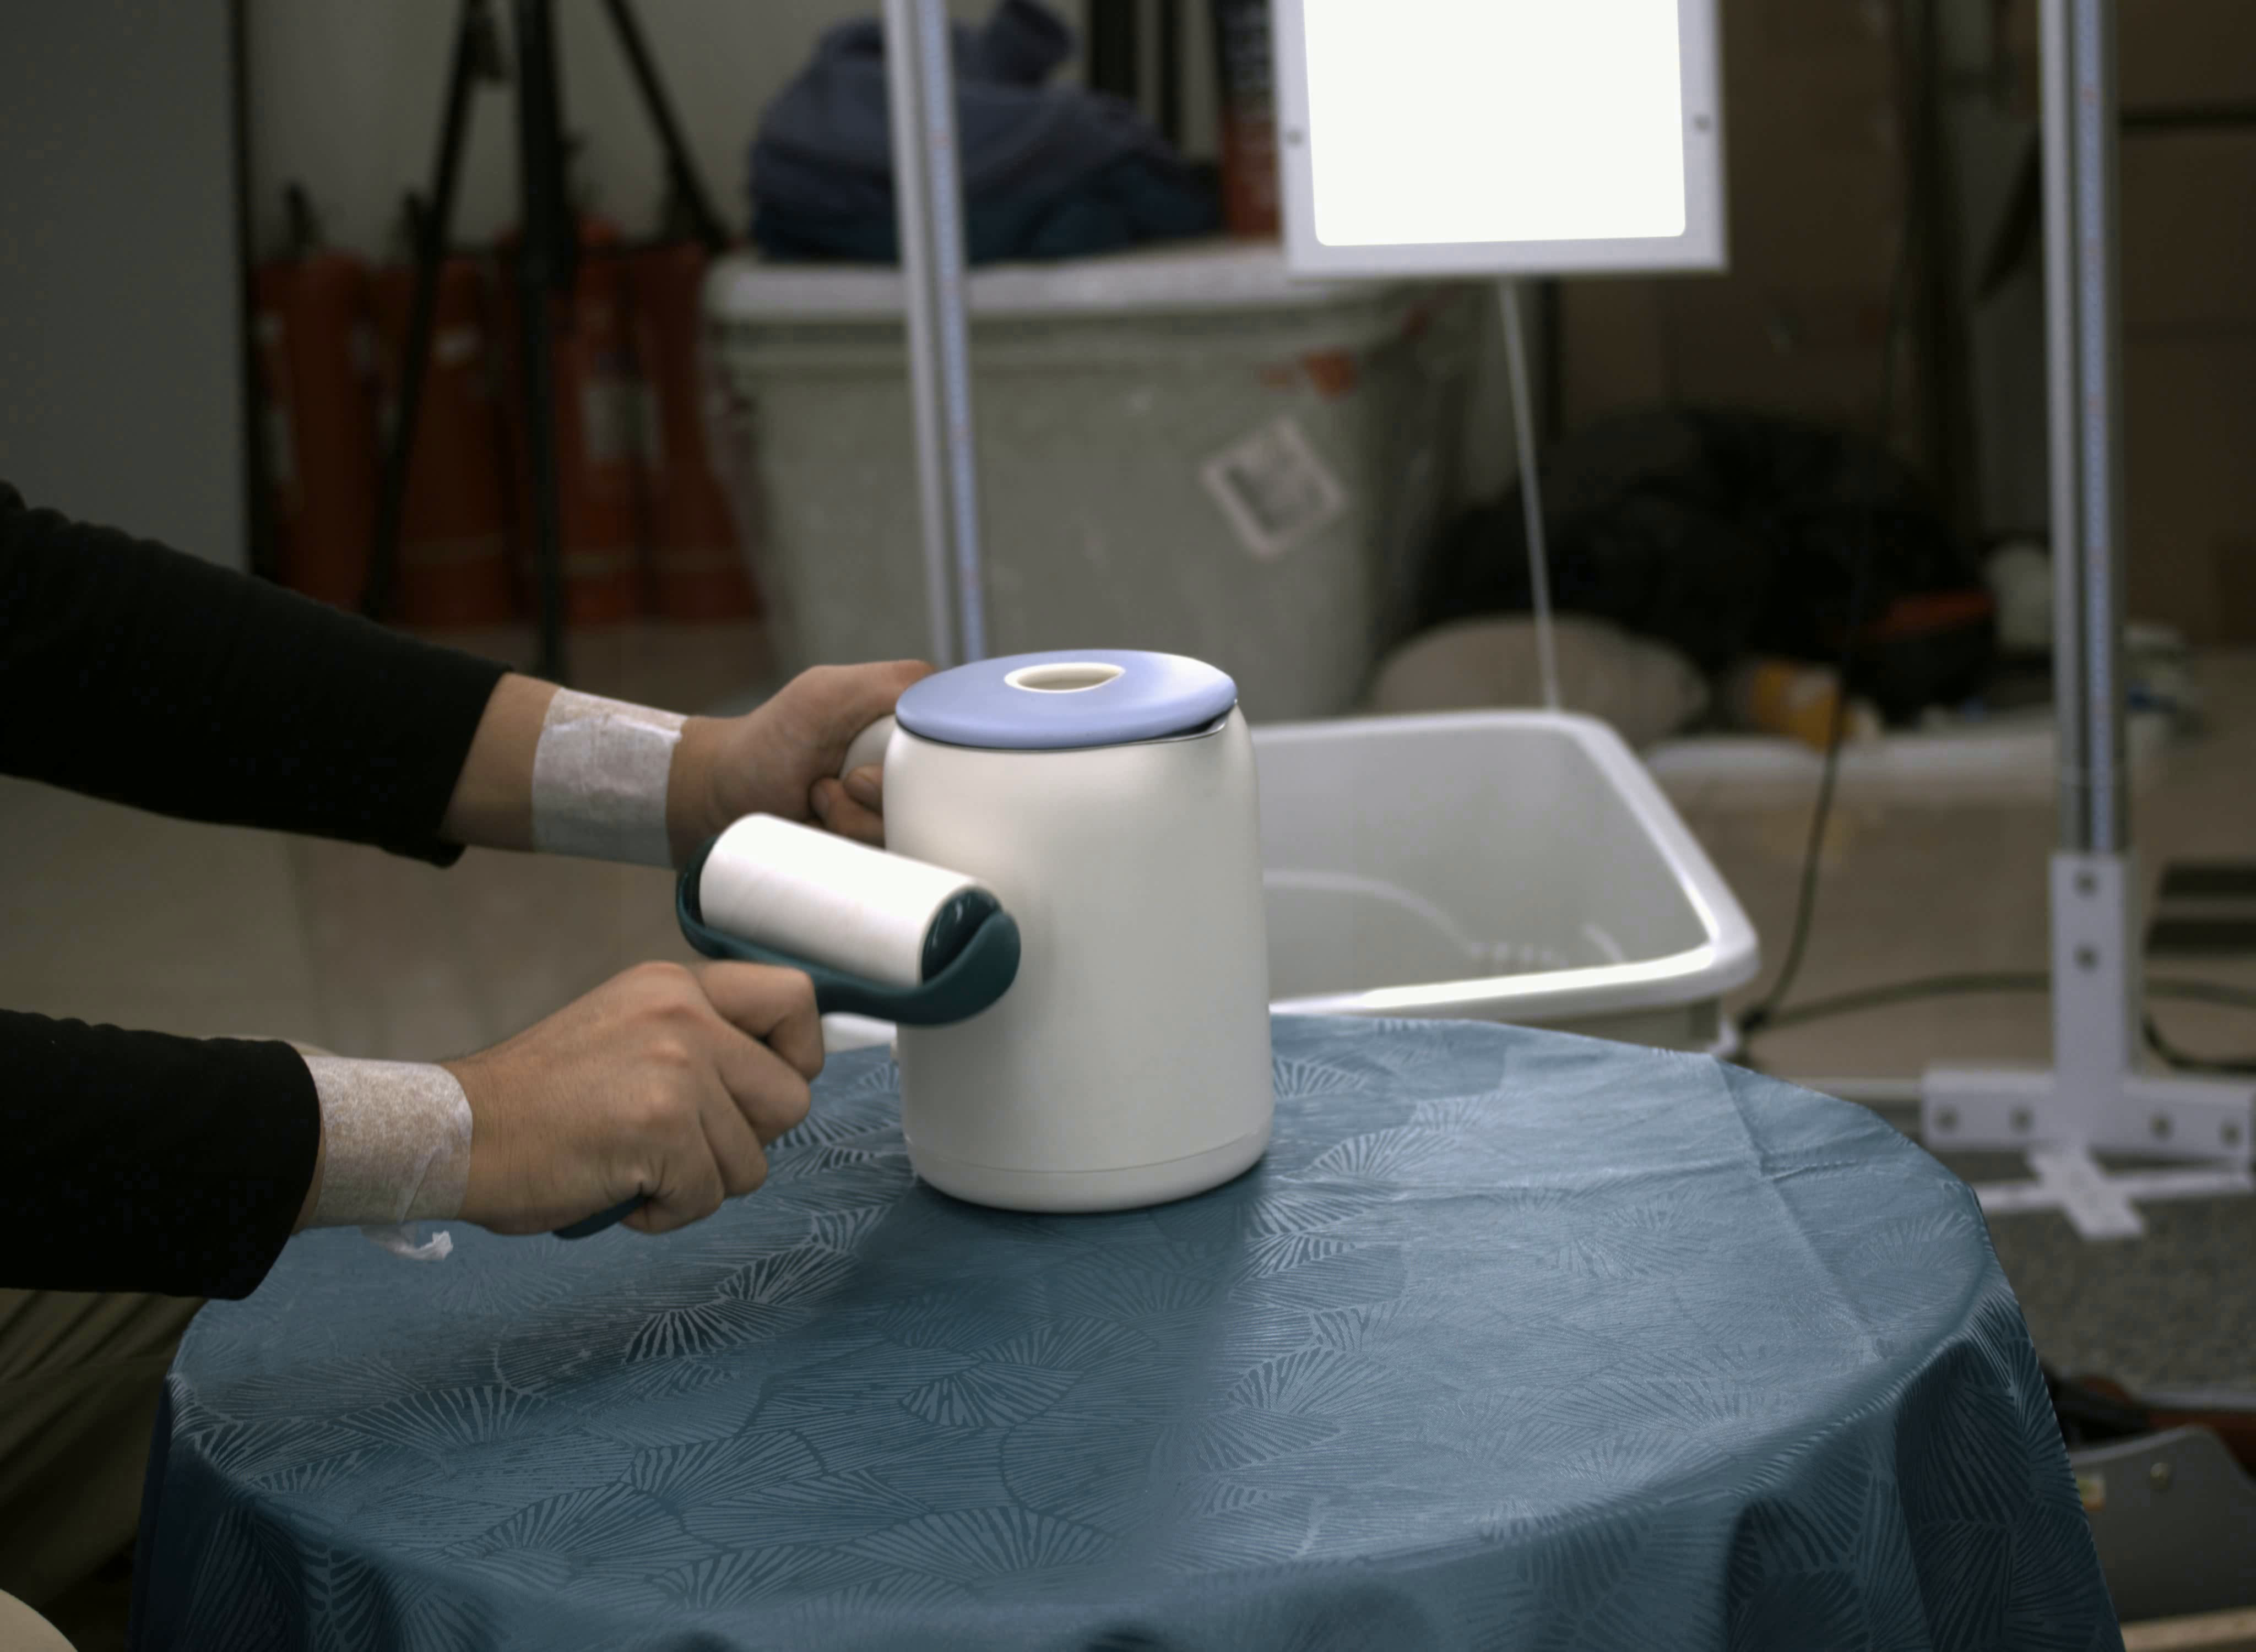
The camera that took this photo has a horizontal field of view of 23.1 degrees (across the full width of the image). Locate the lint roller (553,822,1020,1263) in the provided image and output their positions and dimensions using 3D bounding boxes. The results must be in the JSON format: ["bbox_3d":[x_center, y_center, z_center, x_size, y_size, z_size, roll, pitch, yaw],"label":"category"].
[{"bbox_3d":[-0.132,0.071,1.812,0.137,0.048,0.177,16,46,39],"label":"lint roller"}]

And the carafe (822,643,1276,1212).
[{"bbox_3d":[-0.035,0.032,1.928,0.195,0.183,0.129,8,18,43],"label":"carafe"}]
